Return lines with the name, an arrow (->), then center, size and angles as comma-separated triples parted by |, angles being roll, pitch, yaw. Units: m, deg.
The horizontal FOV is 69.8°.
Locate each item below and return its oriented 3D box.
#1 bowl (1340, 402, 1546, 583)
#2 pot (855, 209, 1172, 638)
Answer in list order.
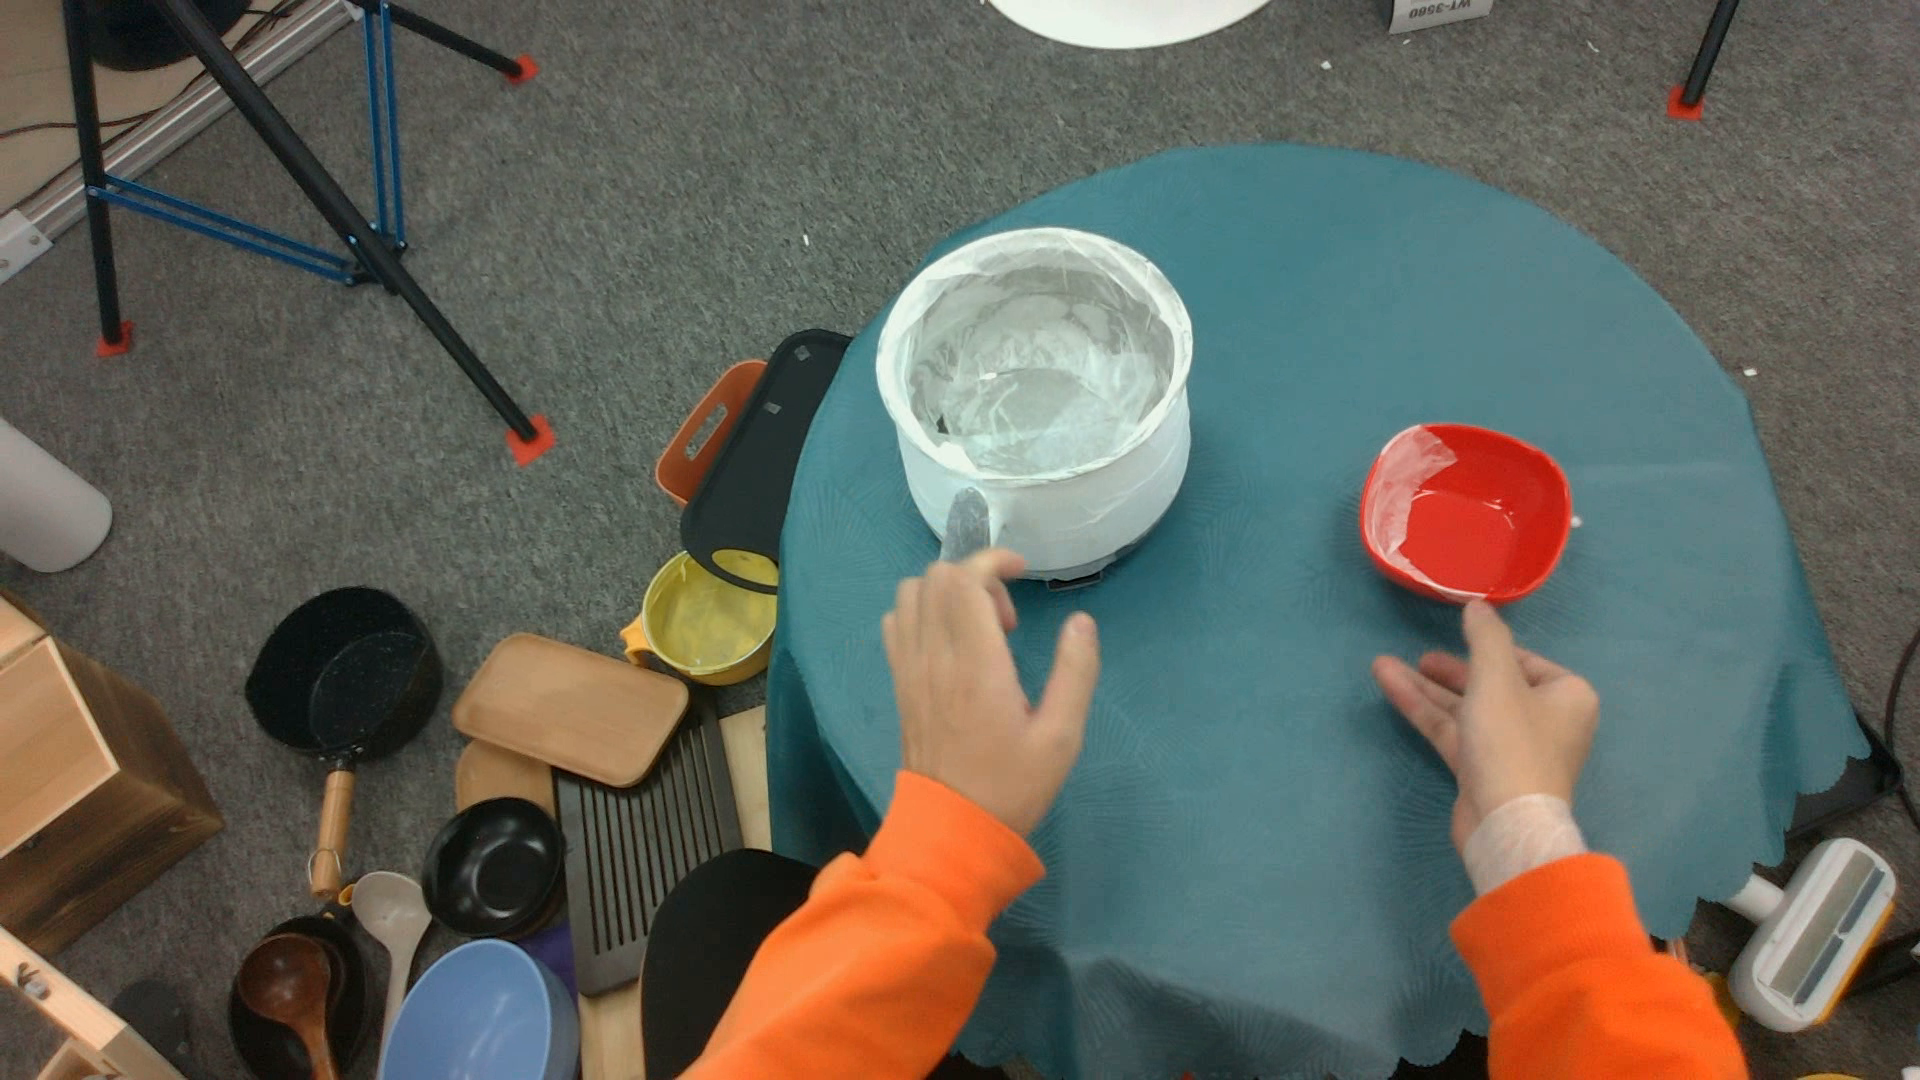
bowl -> 0.275, -0.019, 0.797 | 0.119, 0.051, 0.119 | -3, 60, 5
pot -> 0.028, -0.063, 0.807 | 0.178, 0.136, 0.234 | 12, 63, 15
